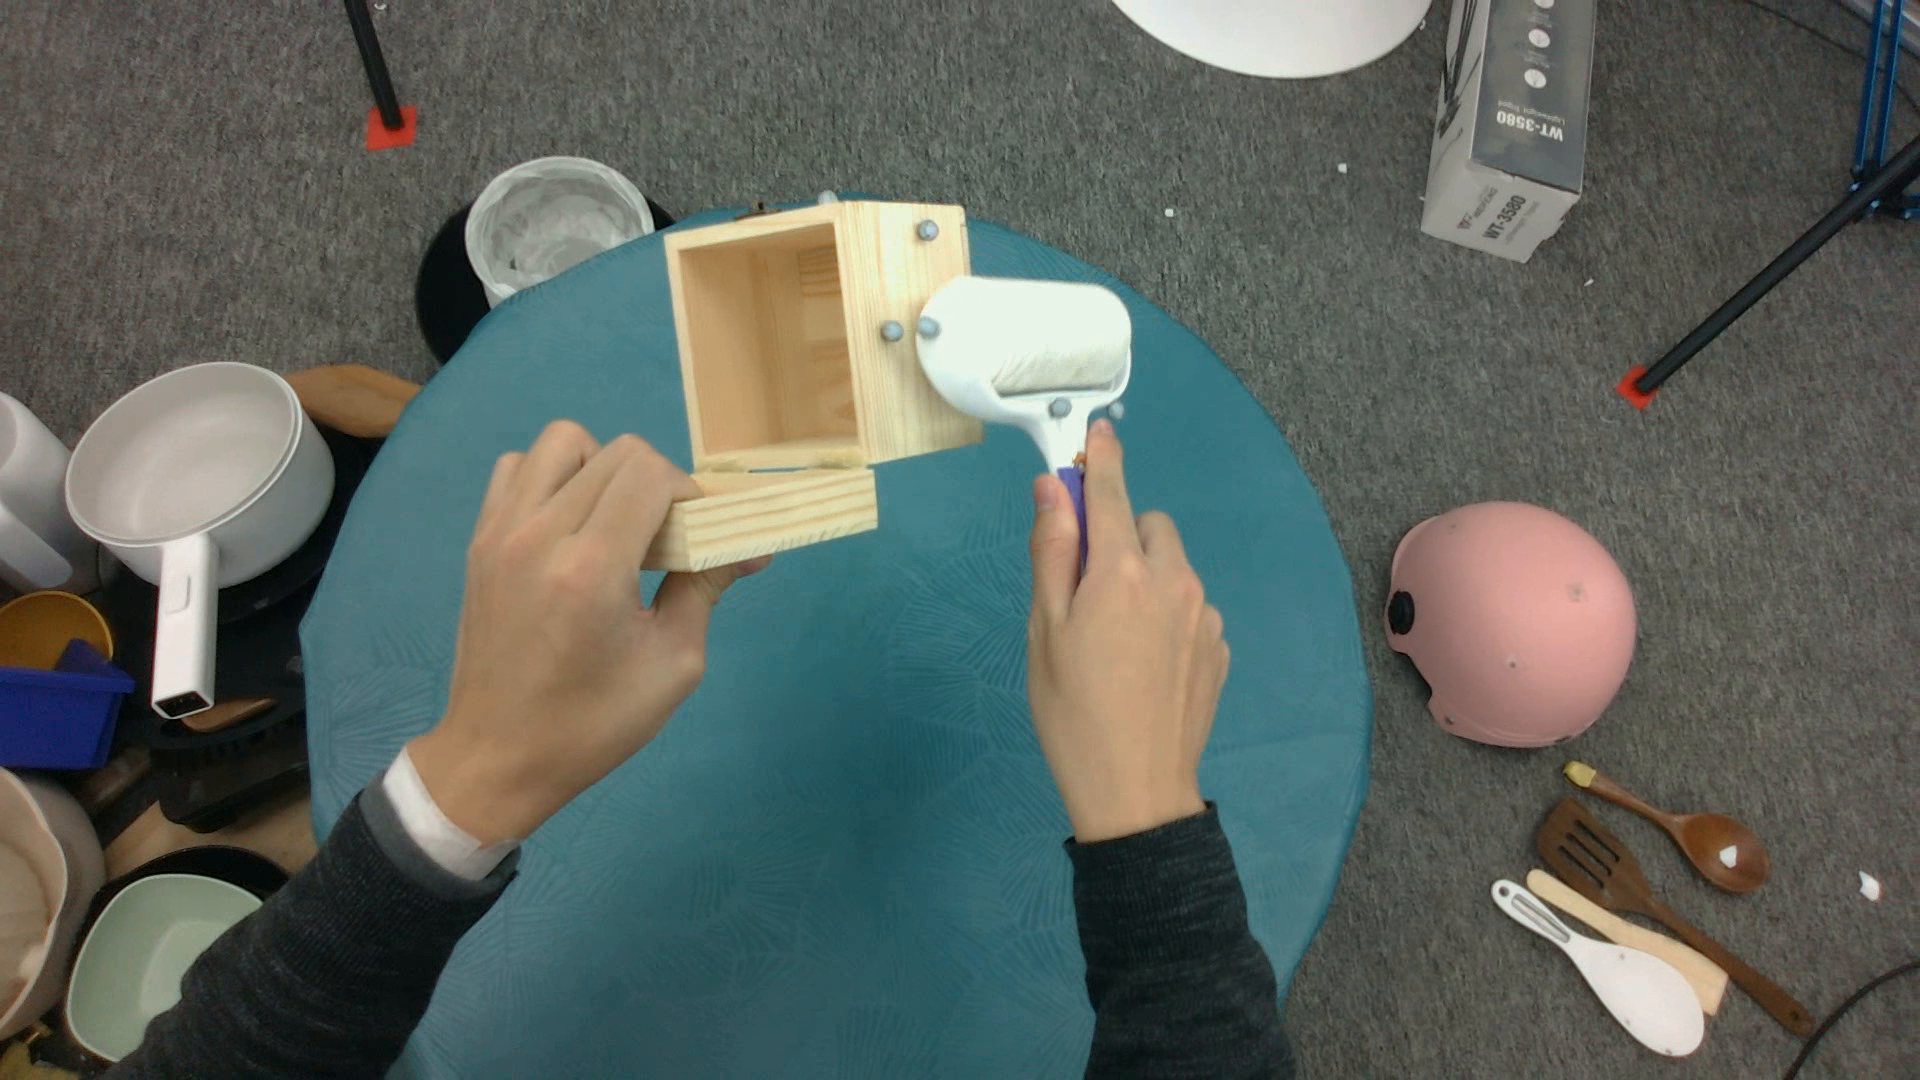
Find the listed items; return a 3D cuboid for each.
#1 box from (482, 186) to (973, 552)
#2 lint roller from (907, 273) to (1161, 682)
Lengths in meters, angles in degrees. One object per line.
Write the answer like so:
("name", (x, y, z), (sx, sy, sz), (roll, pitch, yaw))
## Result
("box", (-0.090, -0.073, 0.545), (0.185, 0.102, 0.134), (-17, 103, -53))
("lint roller", (0.052, -0.030, 0.572), (0.133, 0.050, 0.181), (-10, 72, -56))
